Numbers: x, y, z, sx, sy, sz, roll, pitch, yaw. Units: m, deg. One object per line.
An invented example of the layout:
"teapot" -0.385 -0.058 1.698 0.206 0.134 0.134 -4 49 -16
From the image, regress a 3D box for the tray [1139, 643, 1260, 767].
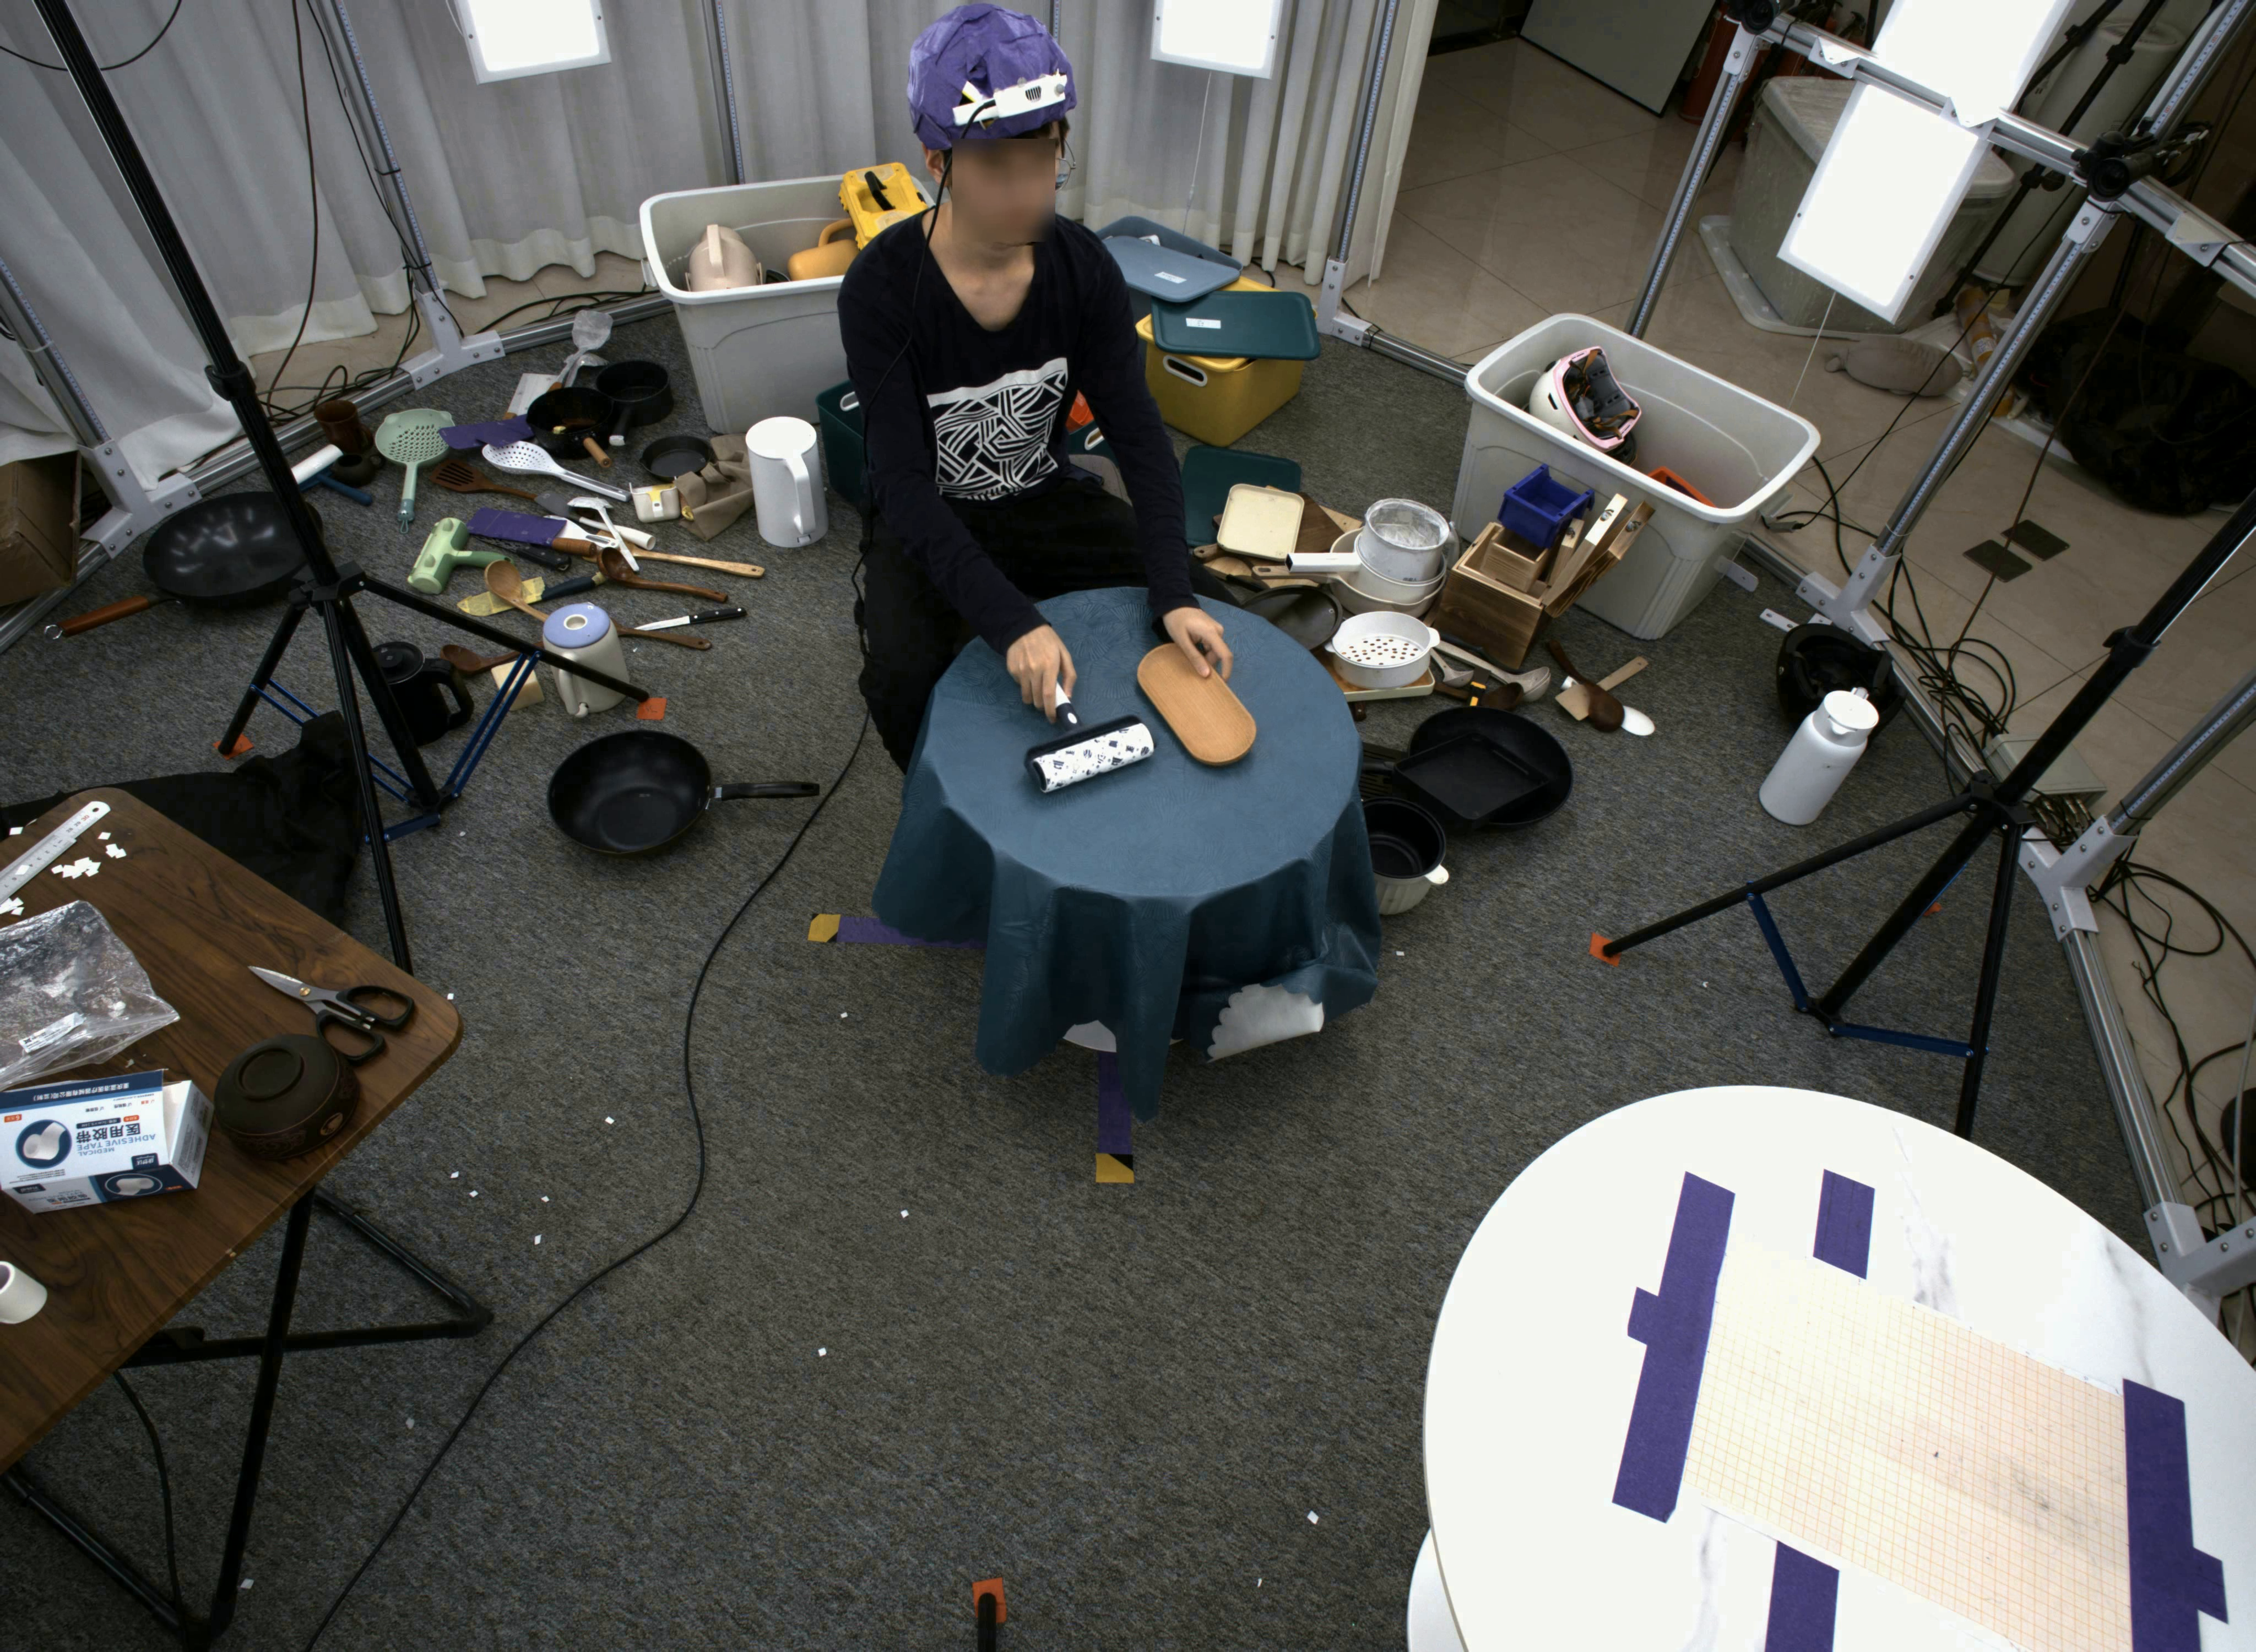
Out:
"tray" 0.098 -0.171 1.795 0.102 0.020 0.236 -31 58 -6

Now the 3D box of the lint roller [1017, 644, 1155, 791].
"lint roller" -0.095 -0.168 1.764 0.177 0.049 0.252 -21 58 -20
